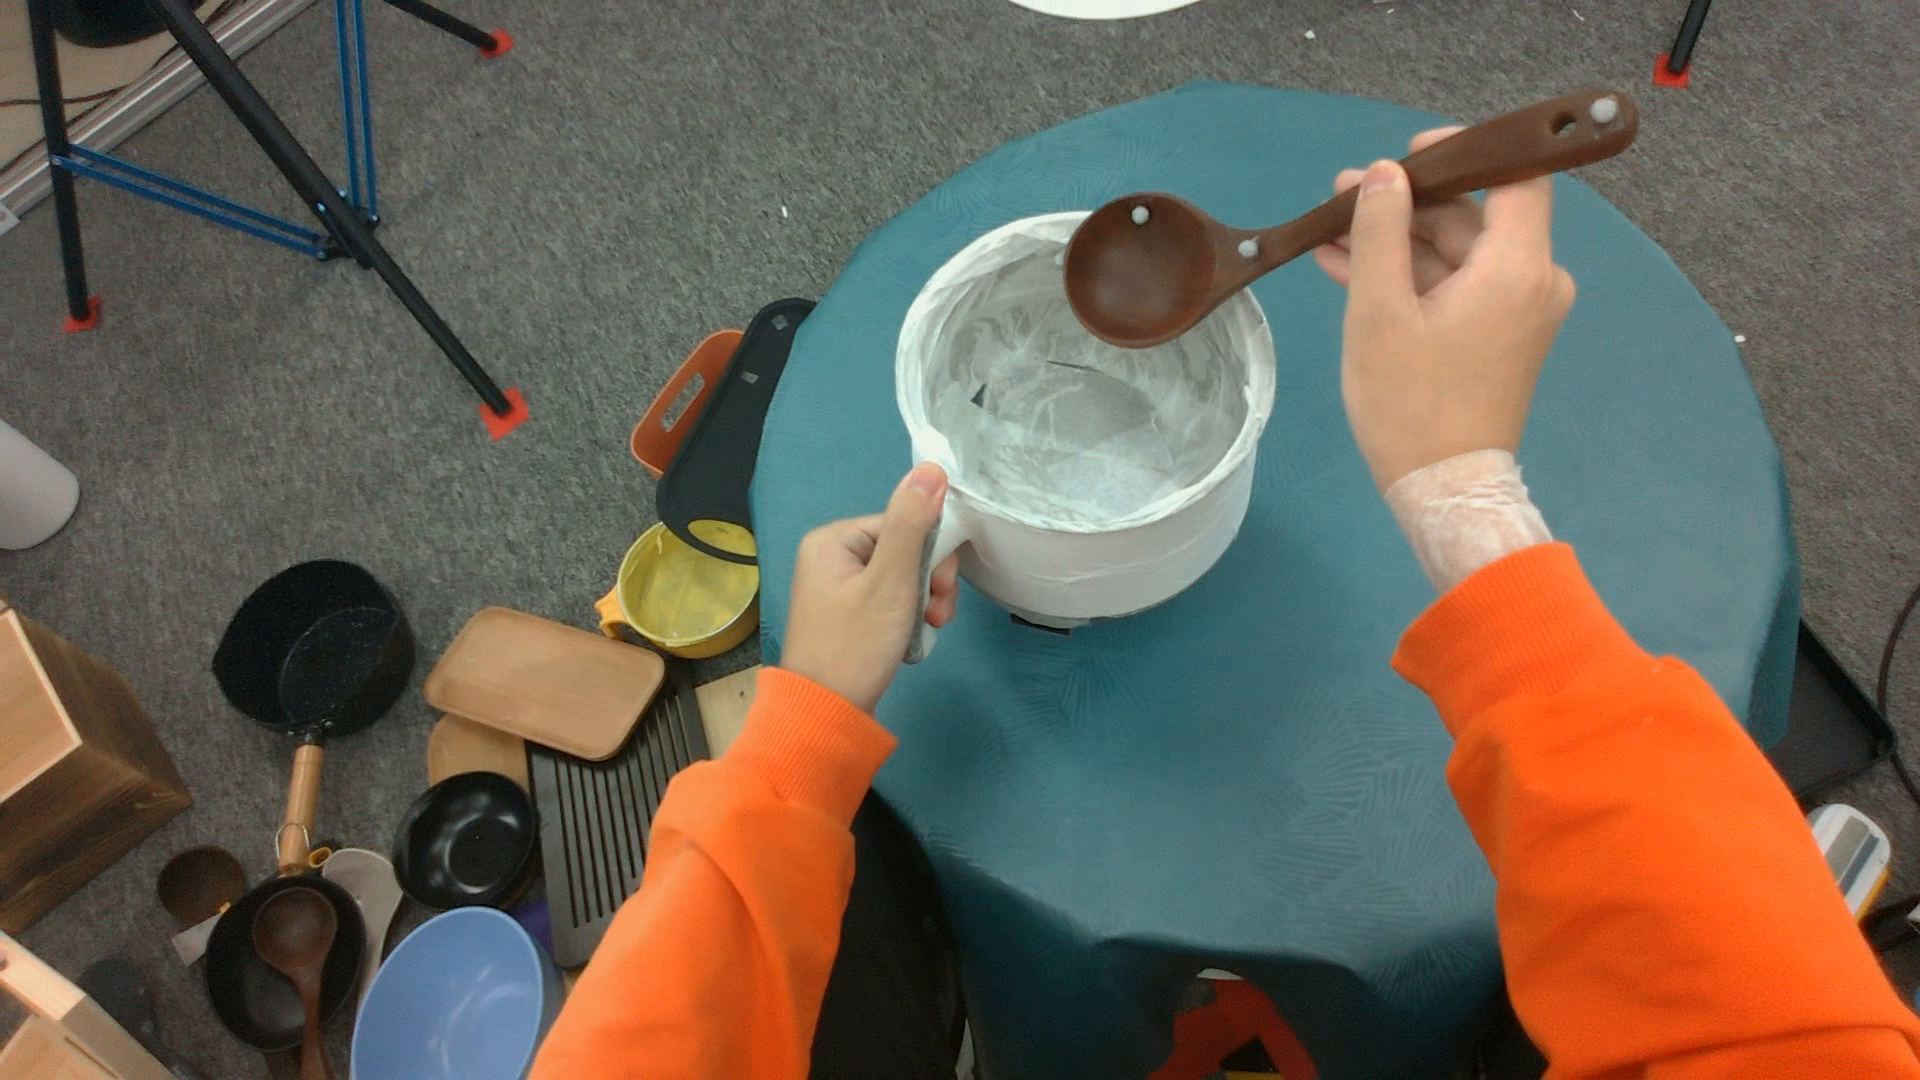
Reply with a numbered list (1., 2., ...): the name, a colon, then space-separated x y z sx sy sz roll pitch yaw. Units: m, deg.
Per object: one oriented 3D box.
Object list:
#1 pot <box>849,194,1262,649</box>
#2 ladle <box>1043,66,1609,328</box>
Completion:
1. pot: 0.036 -0.046 0.689 0.179 0.136 0.234 40 73 21
2. ladle: 0.133 -0.146 0.574 0.065 0.259 0.076 -2 87 -34
